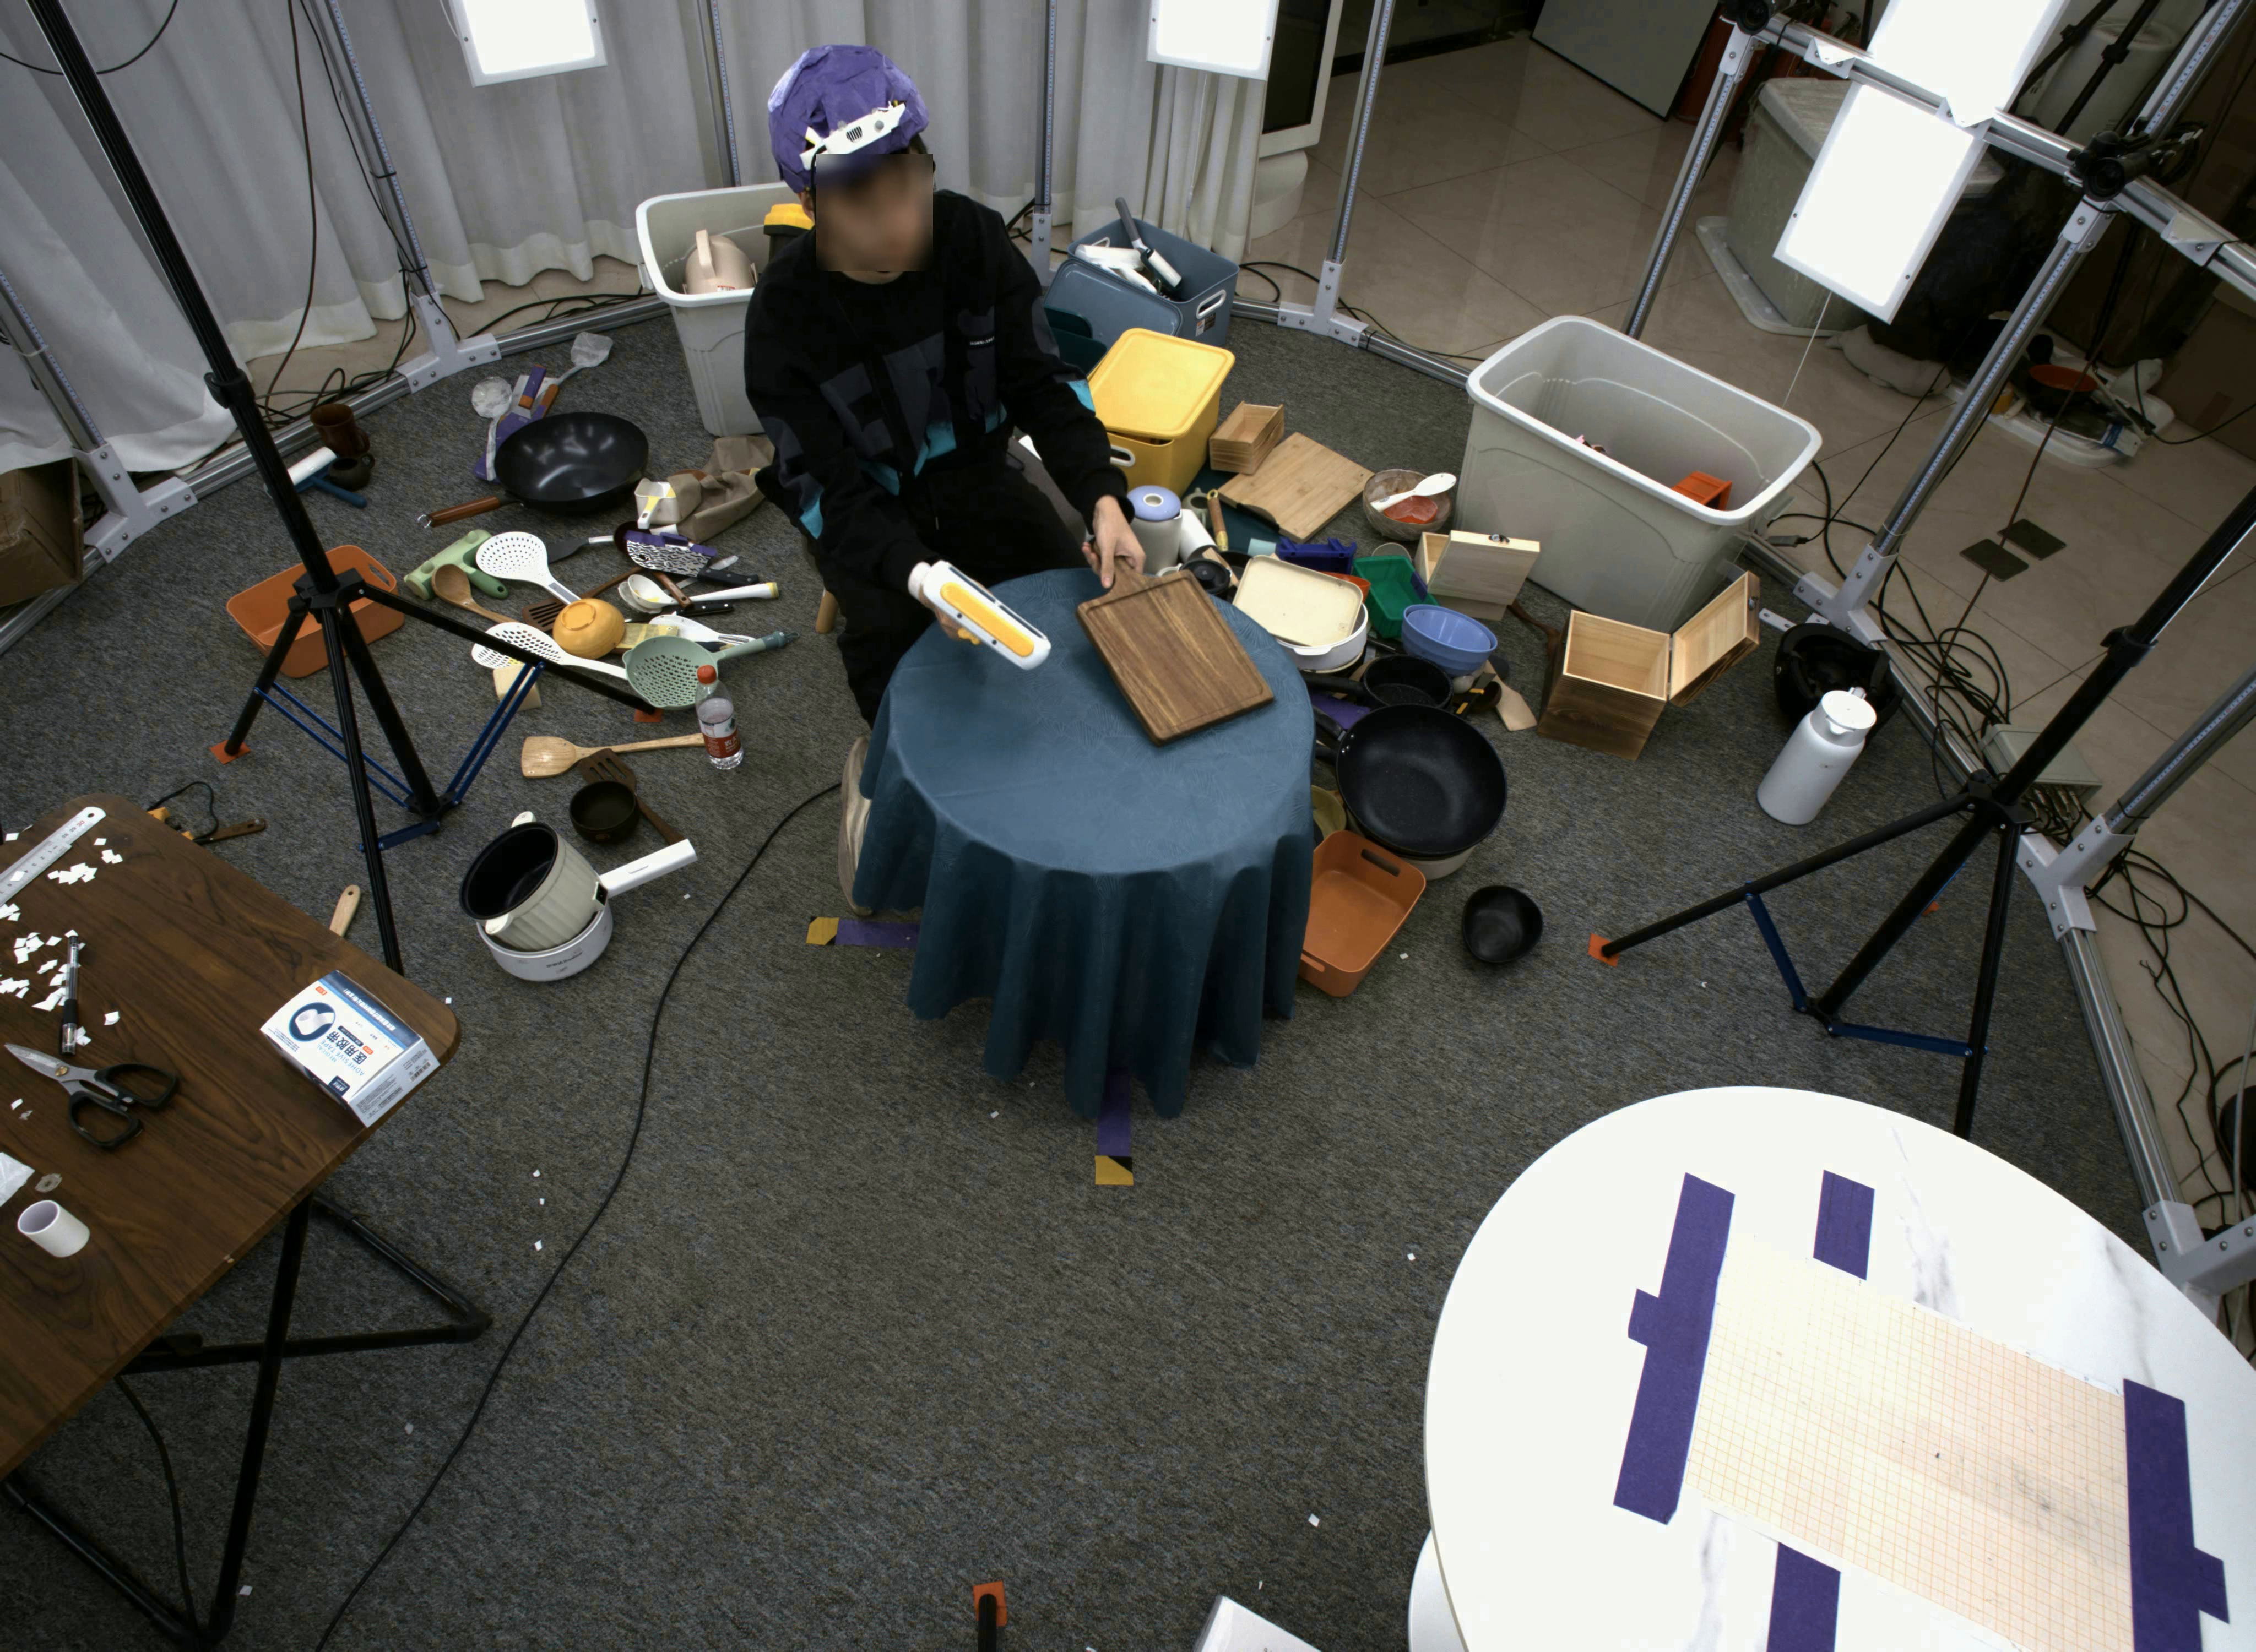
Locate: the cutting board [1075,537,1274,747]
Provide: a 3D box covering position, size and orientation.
[{"bbox_3d":[0.043,-0.286,1.860,0.201,0.023,0.358,-22,65,-21],"label":"cutting board"}]

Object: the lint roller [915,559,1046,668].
[{"bbox_3d":[-0.204,-0.290,1.768,0.191,0.074,0.194,31,9,-11],"label":"lint roller"}]
